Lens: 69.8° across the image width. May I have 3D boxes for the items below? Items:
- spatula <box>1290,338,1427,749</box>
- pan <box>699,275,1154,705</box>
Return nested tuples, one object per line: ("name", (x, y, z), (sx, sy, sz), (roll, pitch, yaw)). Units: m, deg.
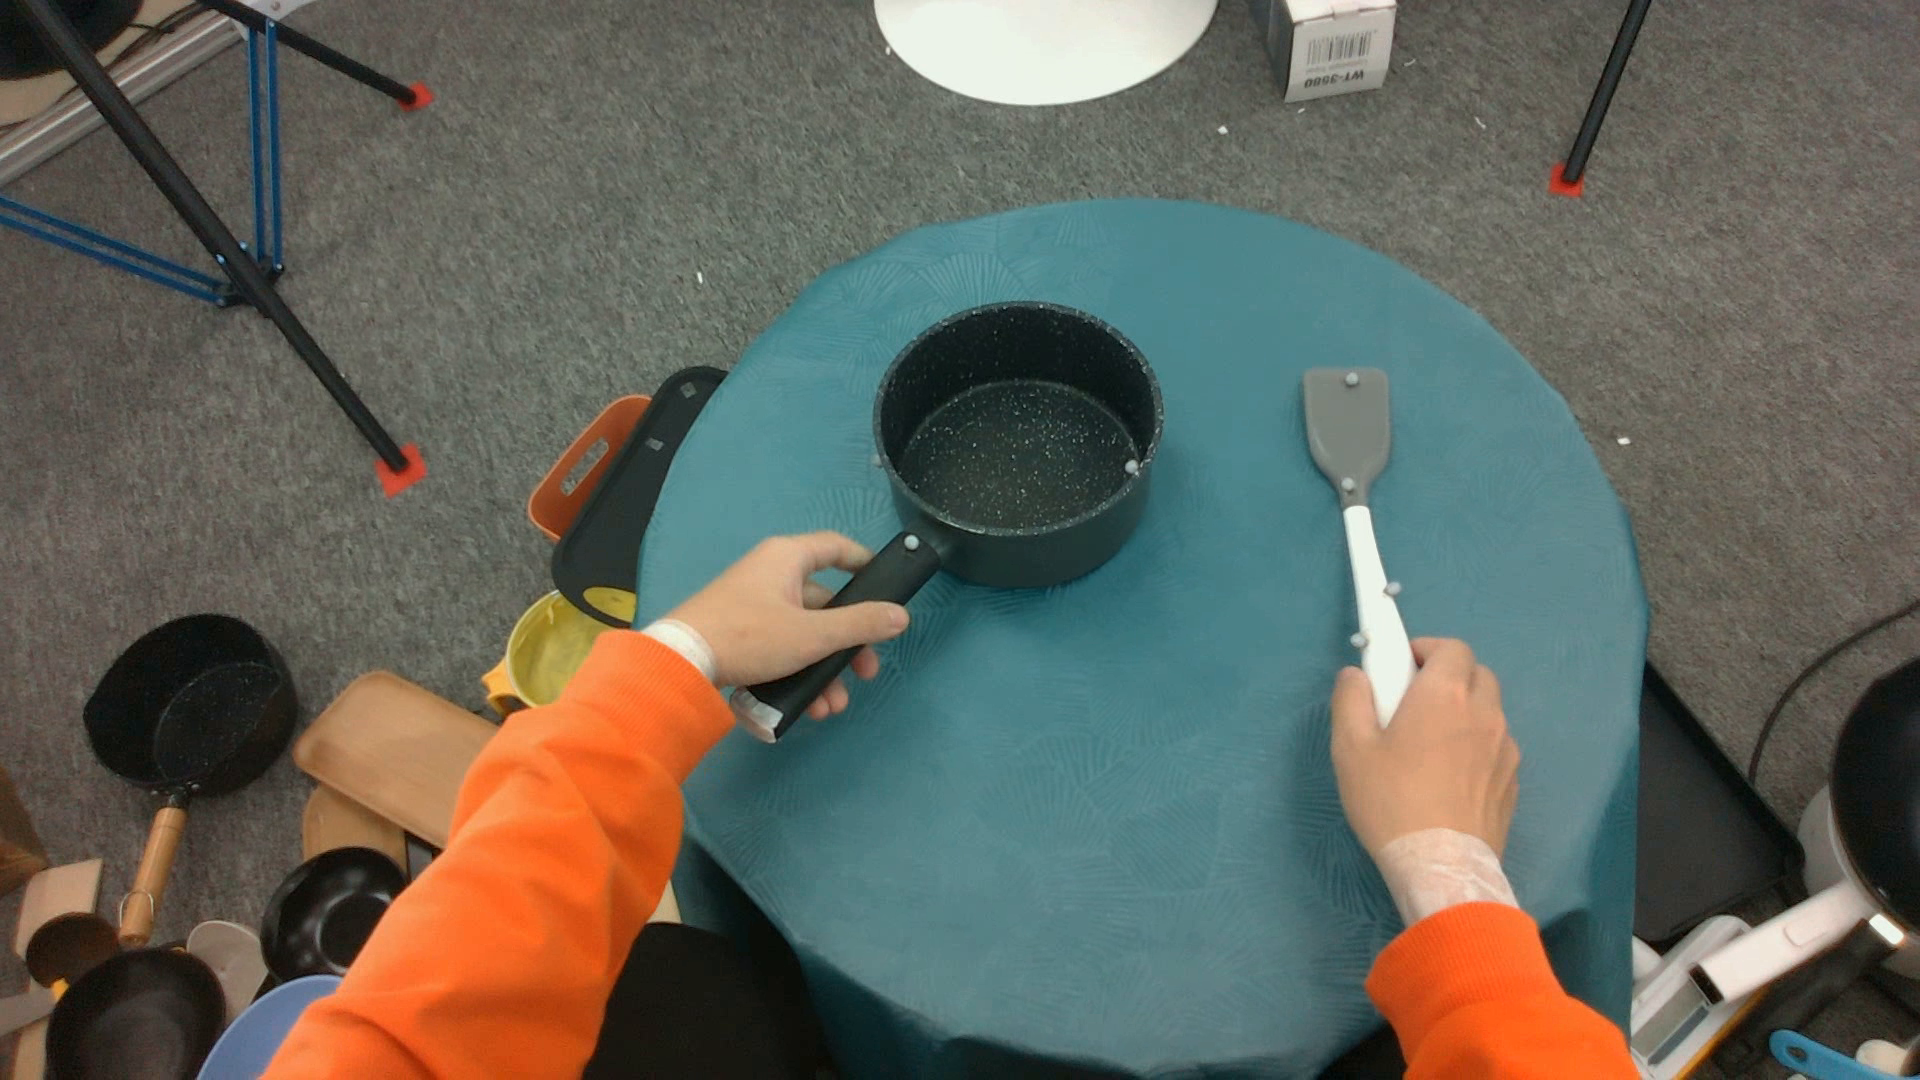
("spatula", (0.233, -0.011, 0.806), (0.058, 0.032, 0.289), (-3, 52, 8))
("pan", (-0.020, -0.017, 0.800), (0.172, 0.086, 0.330), (33, 64, 21))
